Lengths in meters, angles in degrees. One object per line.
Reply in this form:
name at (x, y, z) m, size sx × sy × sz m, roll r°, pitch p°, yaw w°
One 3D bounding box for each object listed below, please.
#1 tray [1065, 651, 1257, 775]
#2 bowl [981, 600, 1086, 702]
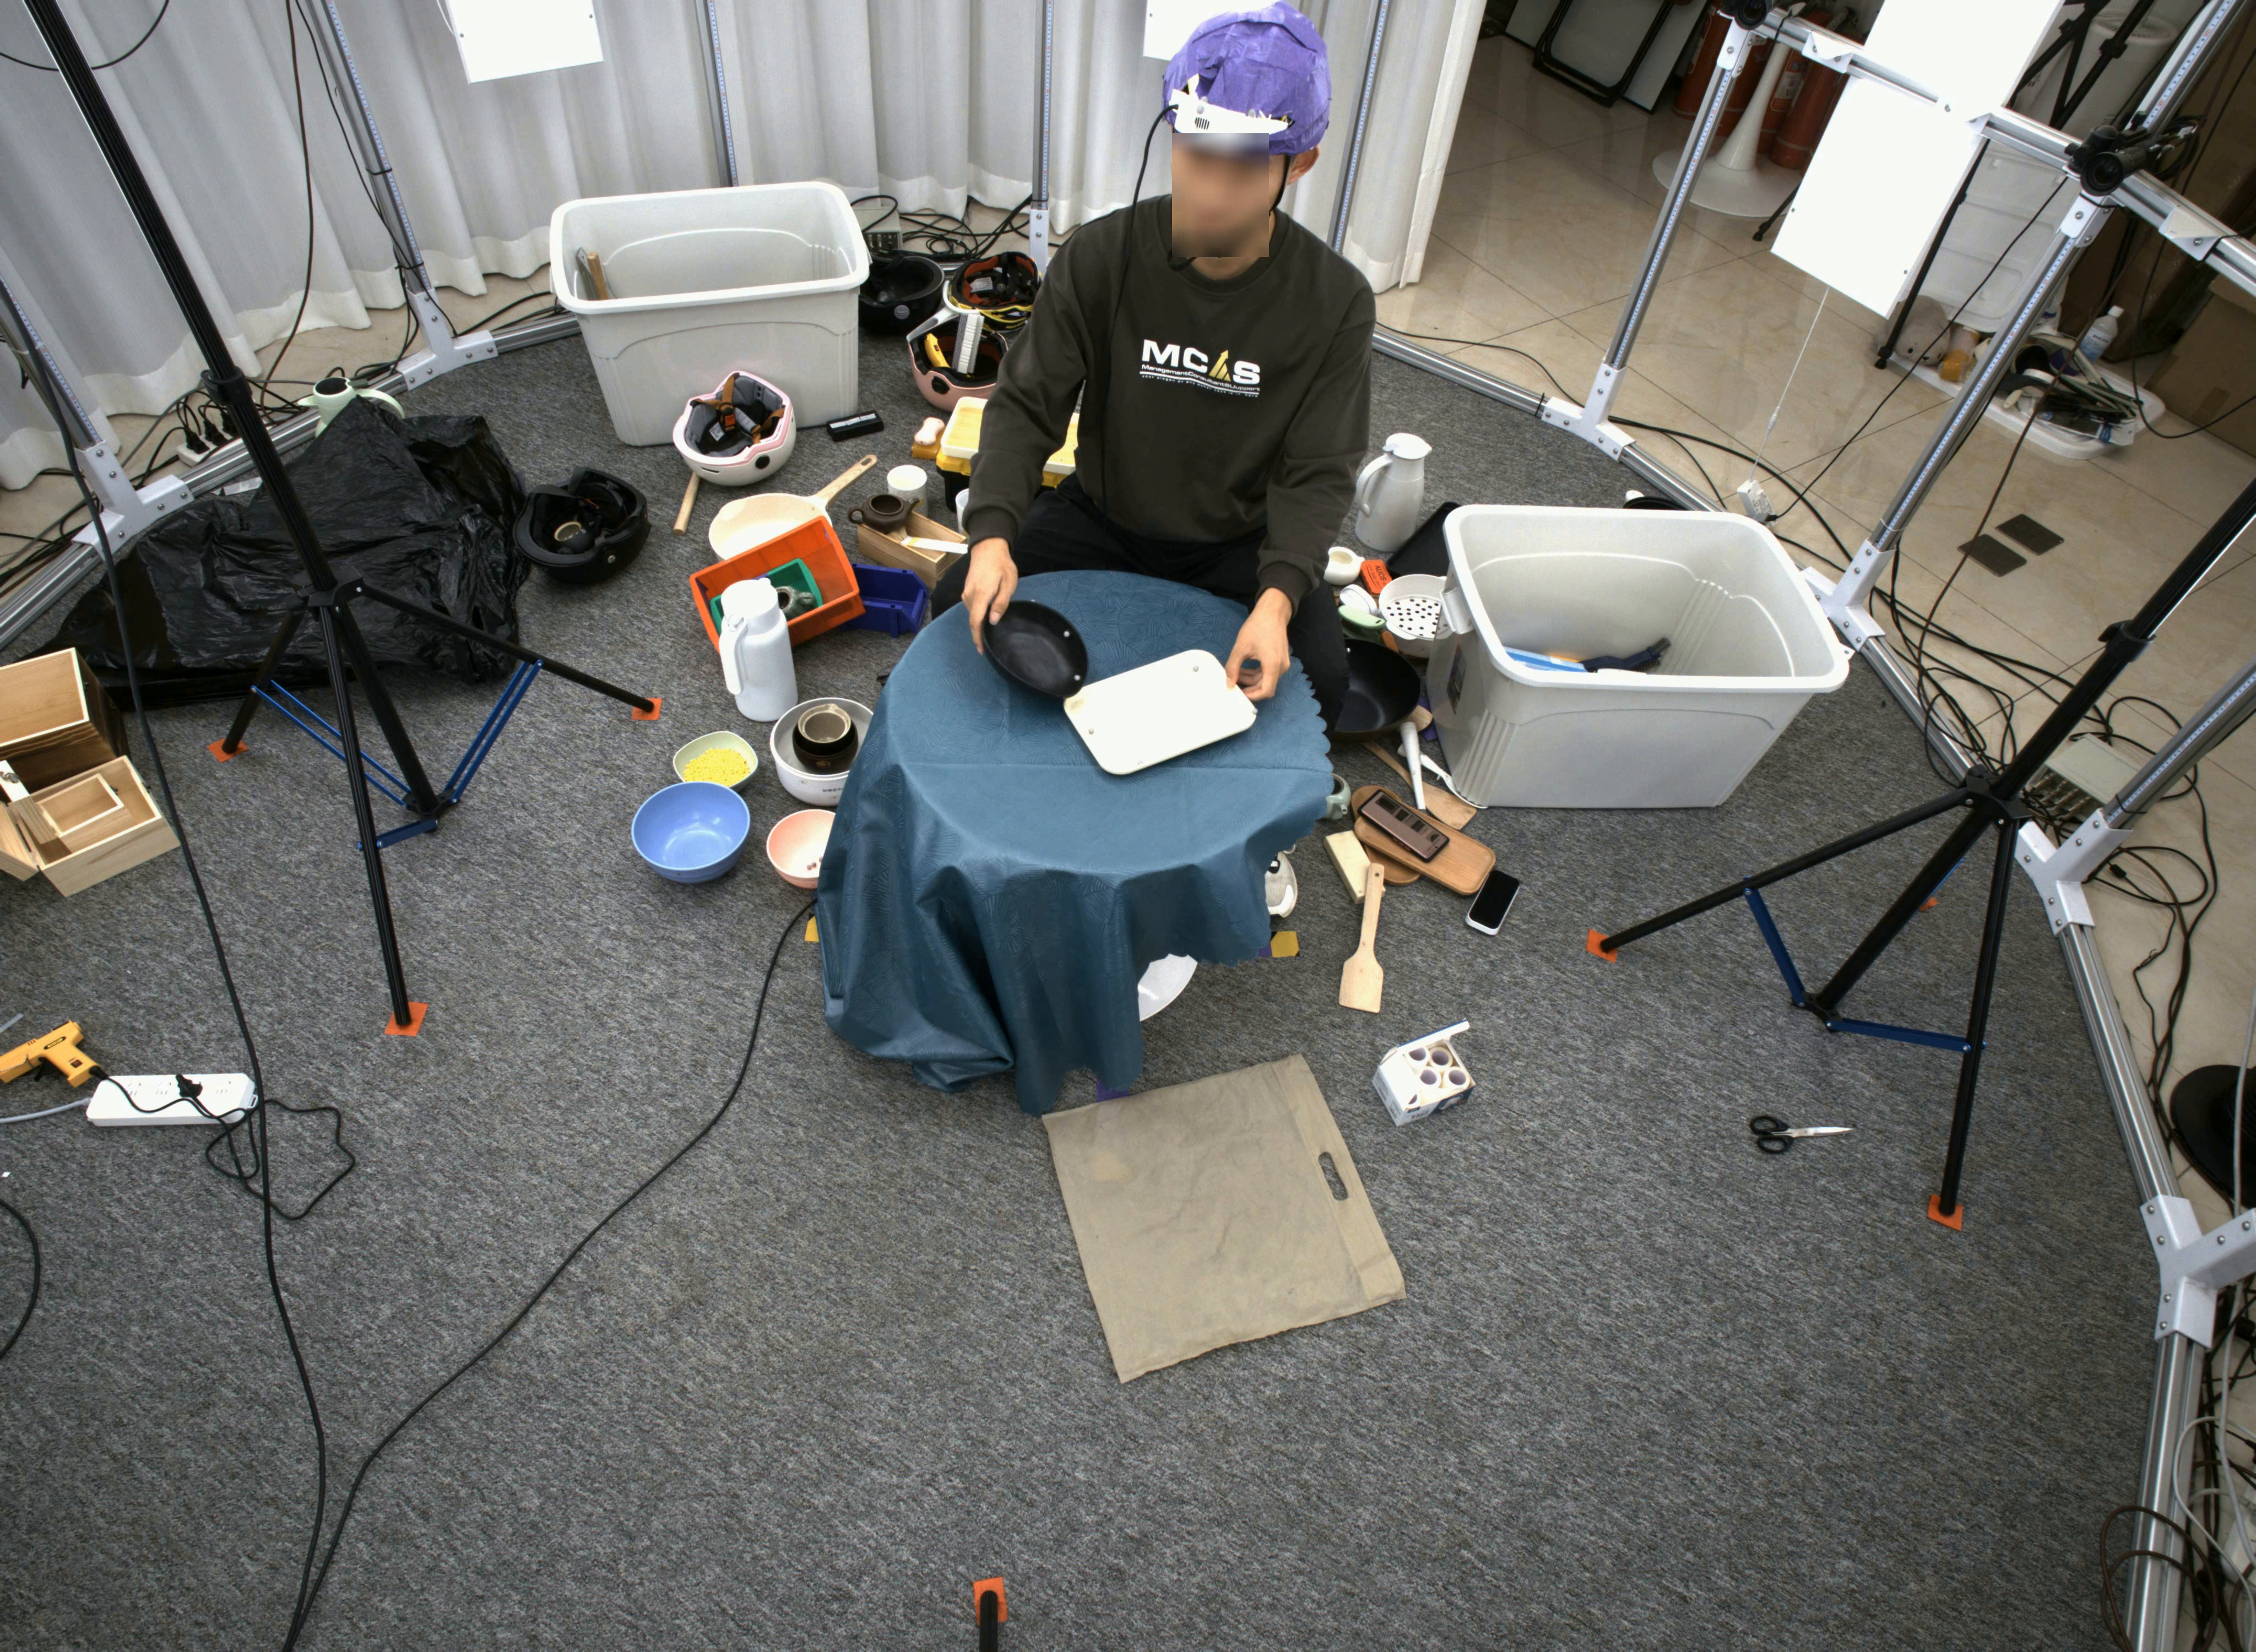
tray at (0.045, -0.158, 1.787) m, size 0.240 × 0.017 × 0.175 m, roll -21°, pitch 52°, yaw -18°
bowl at (-0.136, -0.236, 1.803) m, size 0.171 × 0.065 × 0.139 m, roll 44°, pitch 56°, yaw 7°
